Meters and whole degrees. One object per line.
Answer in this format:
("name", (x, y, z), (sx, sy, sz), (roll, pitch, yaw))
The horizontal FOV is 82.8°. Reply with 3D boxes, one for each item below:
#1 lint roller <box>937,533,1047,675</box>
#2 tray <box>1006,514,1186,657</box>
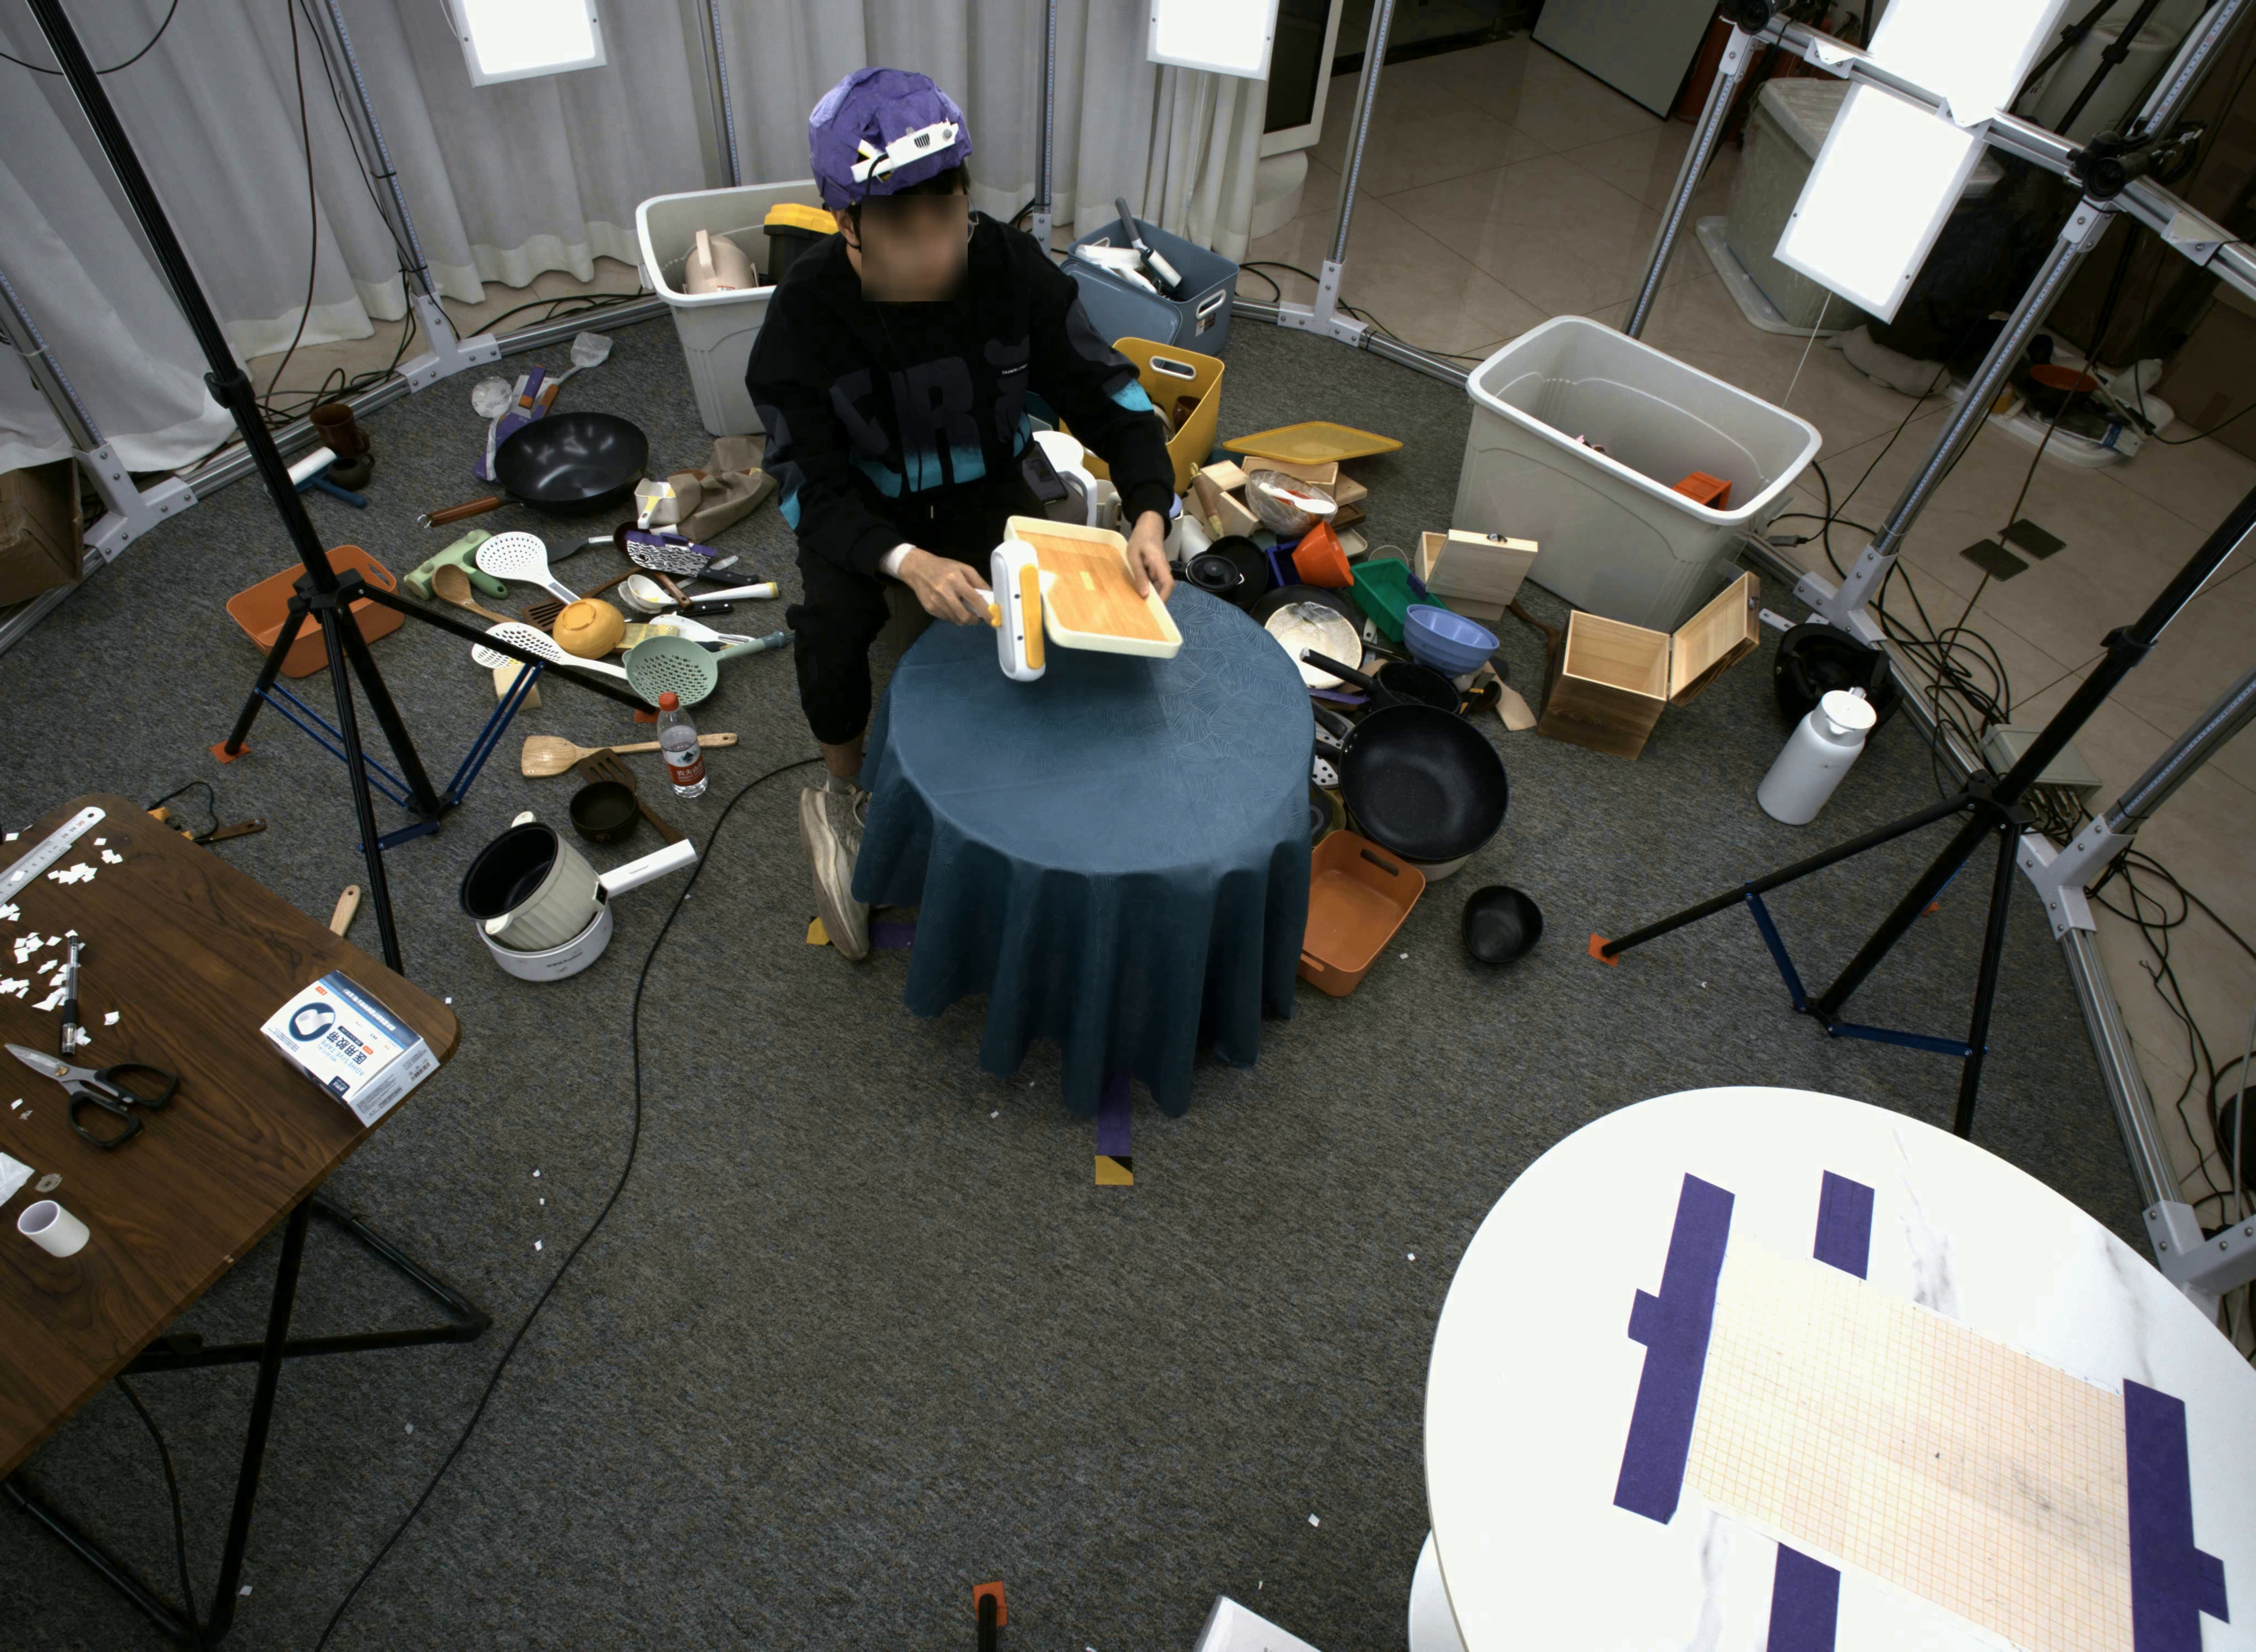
("lint roller", (-0.191, -0.310, 1.784), (0.074, 0.189, 0.195), (-25, 28, -33))
("tray", (-0.049, -0.344, 1.828), (0.190, 0.027, 0.308), (3, 40, -26))
